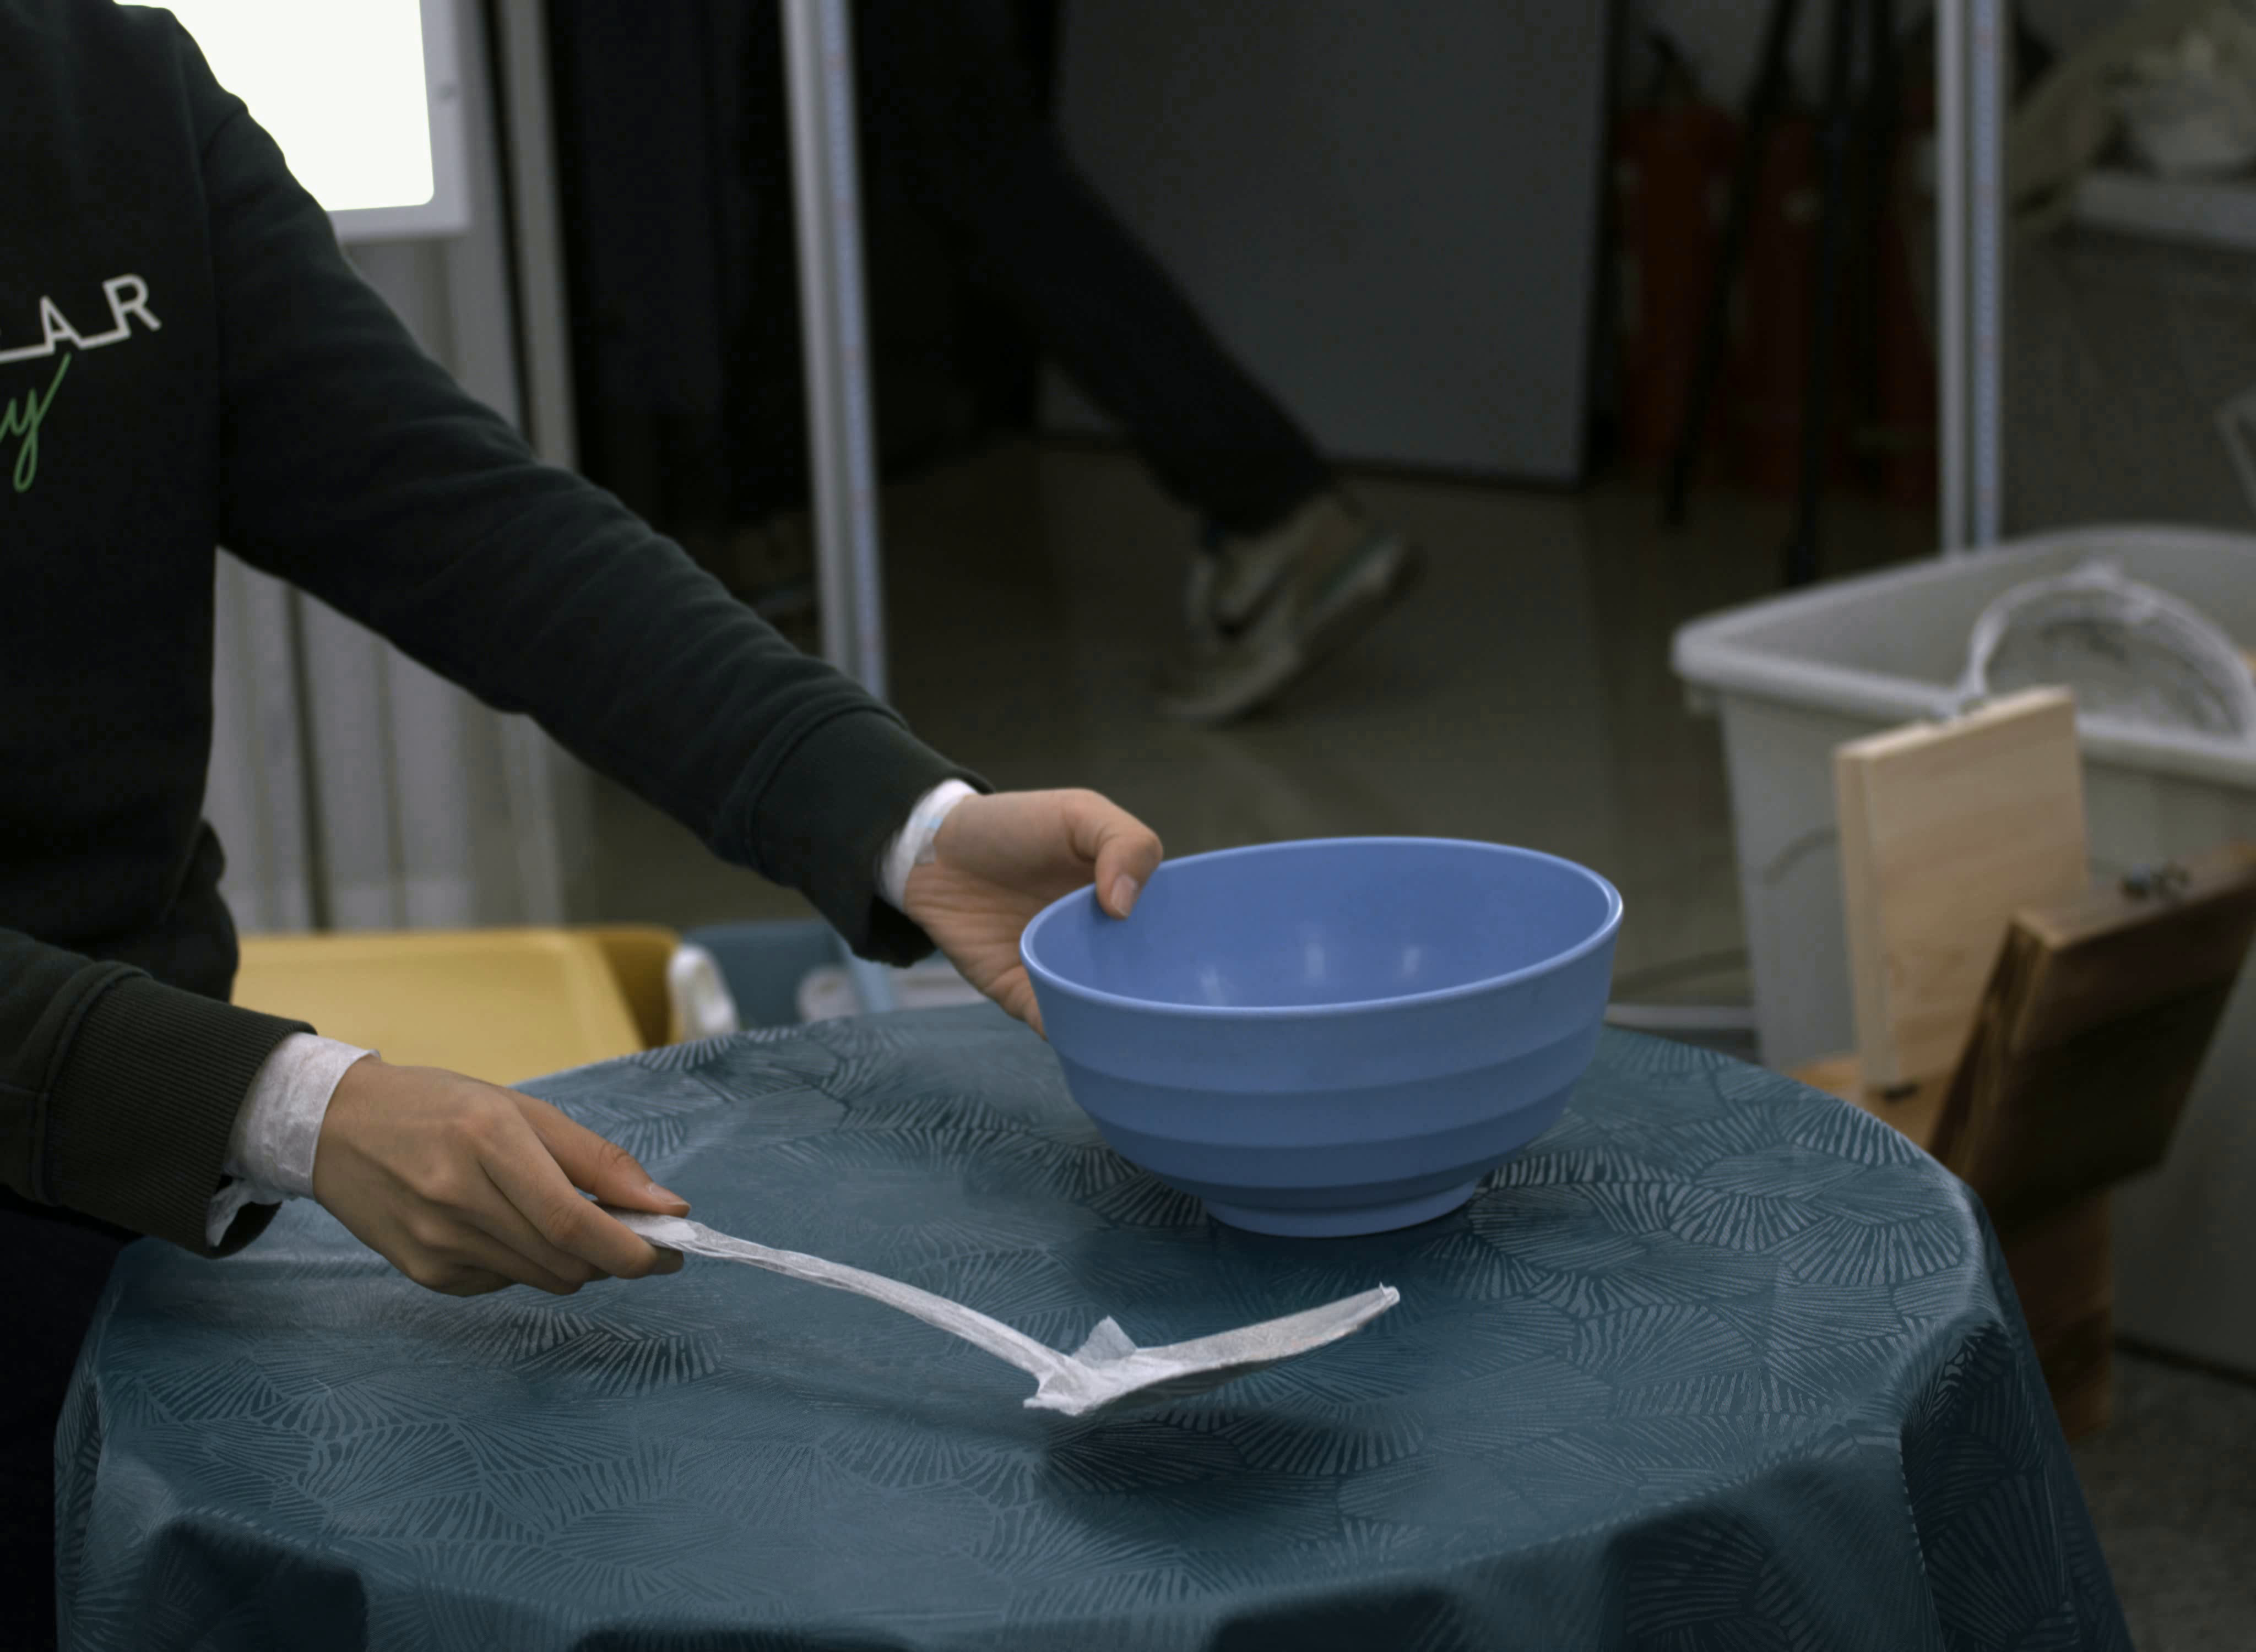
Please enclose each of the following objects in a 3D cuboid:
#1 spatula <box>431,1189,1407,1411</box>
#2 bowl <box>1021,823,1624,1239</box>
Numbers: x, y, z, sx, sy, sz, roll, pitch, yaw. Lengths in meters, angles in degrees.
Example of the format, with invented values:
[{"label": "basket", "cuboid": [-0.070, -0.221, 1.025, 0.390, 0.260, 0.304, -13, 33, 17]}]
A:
[{"label": "spatula", "cuboid": [-0.082, 0.130, 1.604, 0.367, 0.045, 0.097, 11, 18, 37]}, {"label": "bowl", "cuboid": [0.065, 0.073, 1.741, 0.194, 0.096, 0.197, -5, 16, 0]}]
